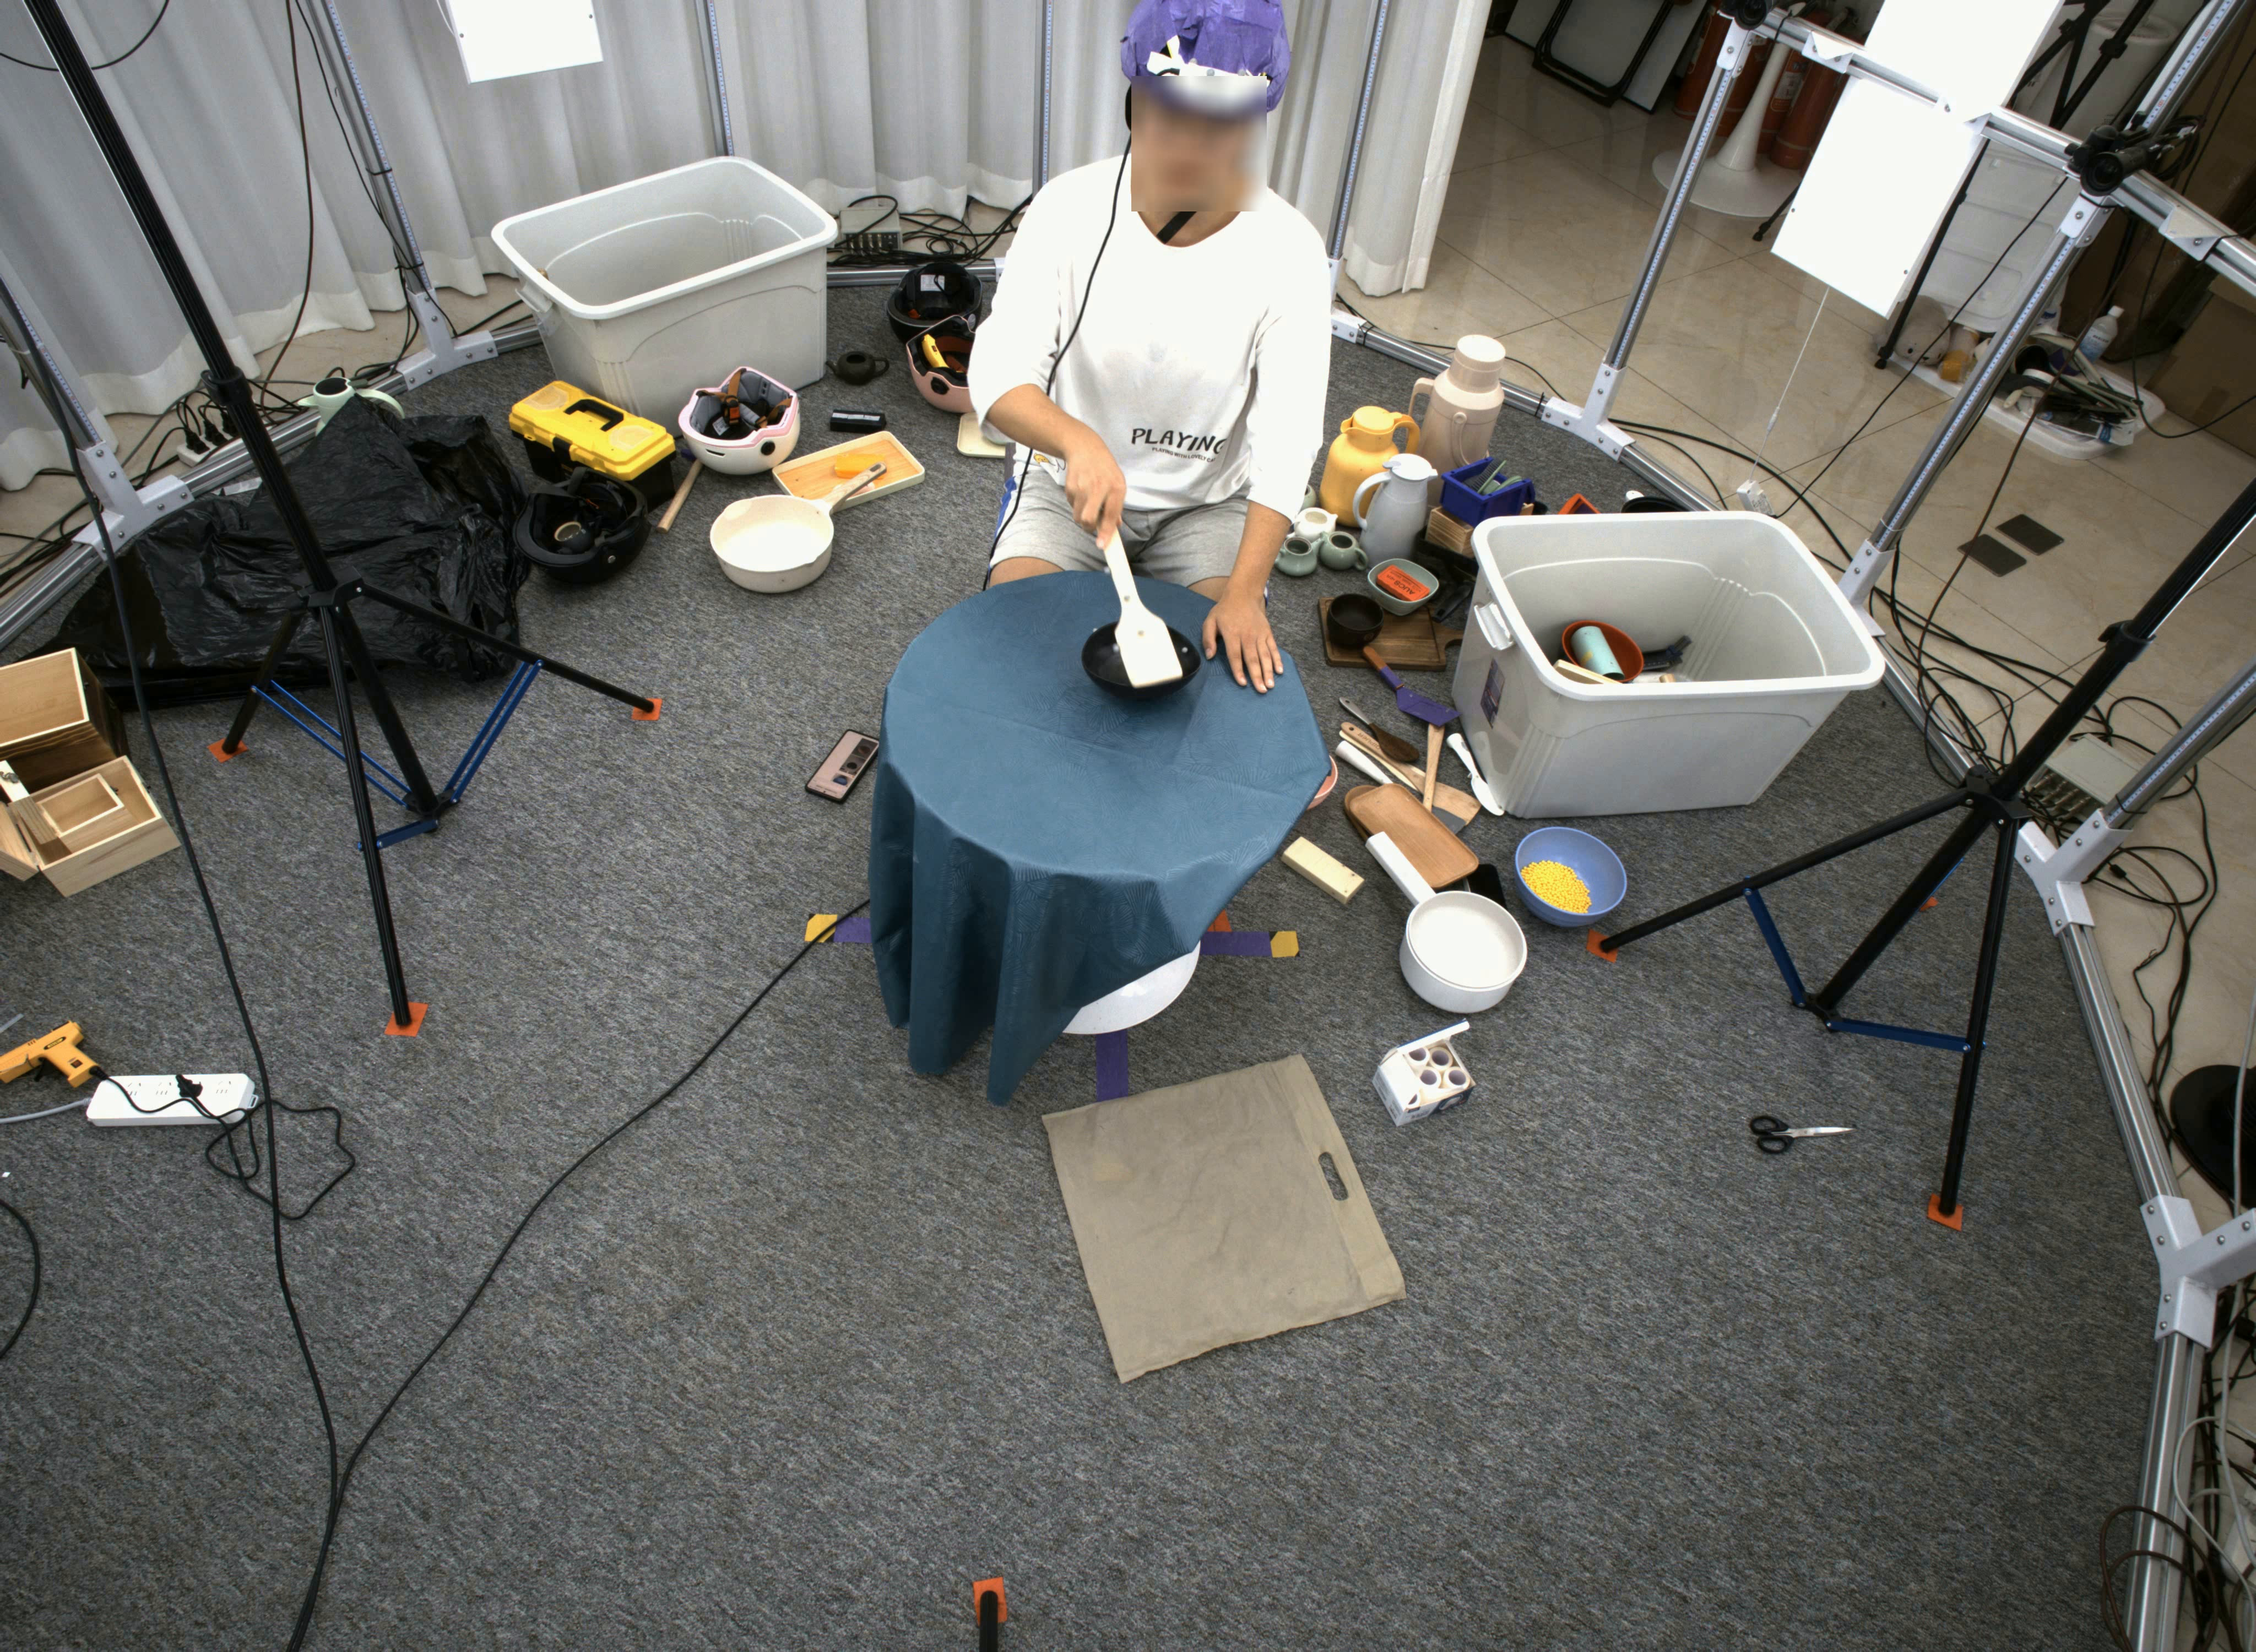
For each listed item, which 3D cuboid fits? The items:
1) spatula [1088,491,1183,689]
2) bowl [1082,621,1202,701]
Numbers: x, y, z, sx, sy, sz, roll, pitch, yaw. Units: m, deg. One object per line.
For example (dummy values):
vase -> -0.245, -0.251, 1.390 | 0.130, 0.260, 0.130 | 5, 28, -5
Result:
spatula -> -0.002, -0.318, 1.705 | 0.072, 0.010, 0.297 | -14, 72, -11
bowl -> 0.018, -0.225, 1.820 | 0.170, 0.065, 0.141 | -3, 49, -10
